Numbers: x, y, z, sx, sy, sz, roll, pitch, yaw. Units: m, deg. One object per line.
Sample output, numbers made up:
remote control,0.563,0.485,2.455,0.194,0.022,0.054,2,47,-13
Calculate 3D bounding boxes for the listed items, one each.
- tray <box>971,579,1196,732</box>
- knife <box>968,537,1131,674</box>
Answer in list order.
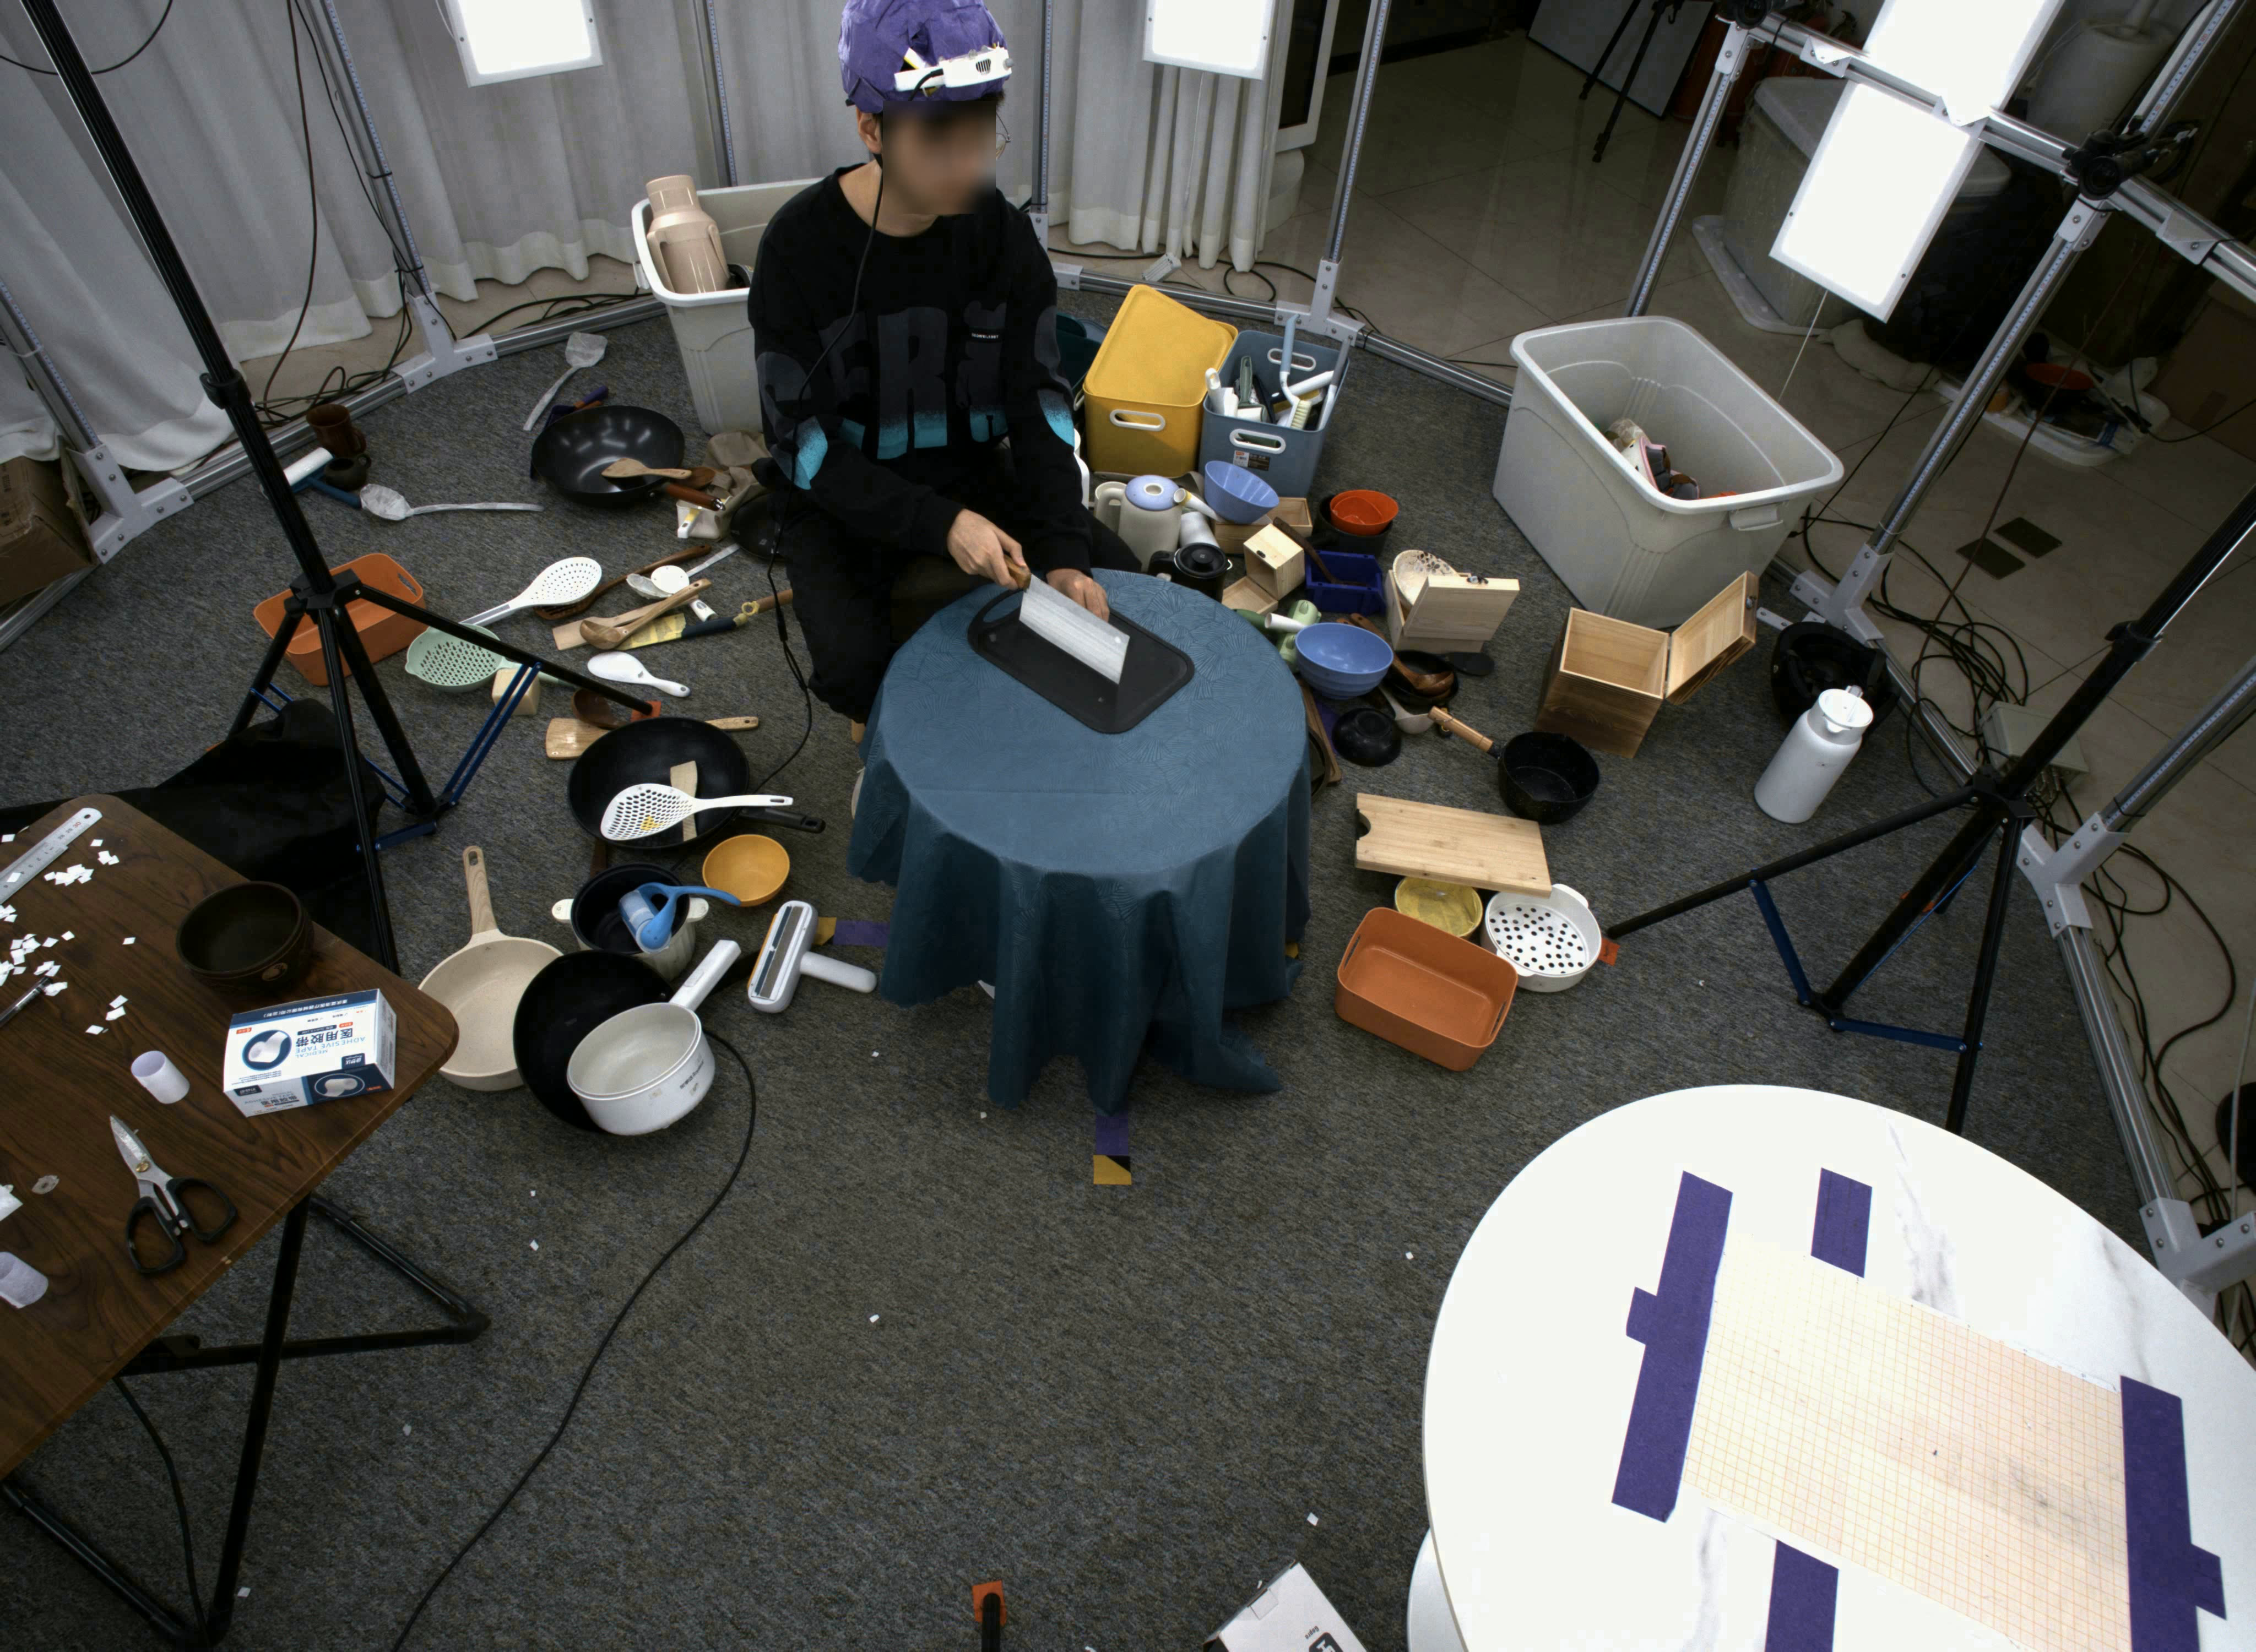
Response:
tray,-0.073,-0.260,1.885,0.330,0.009,0.213,35,56,24
knife,-0.118,-0.315,1.863,0.309,0.091,0.021,35,48,21
